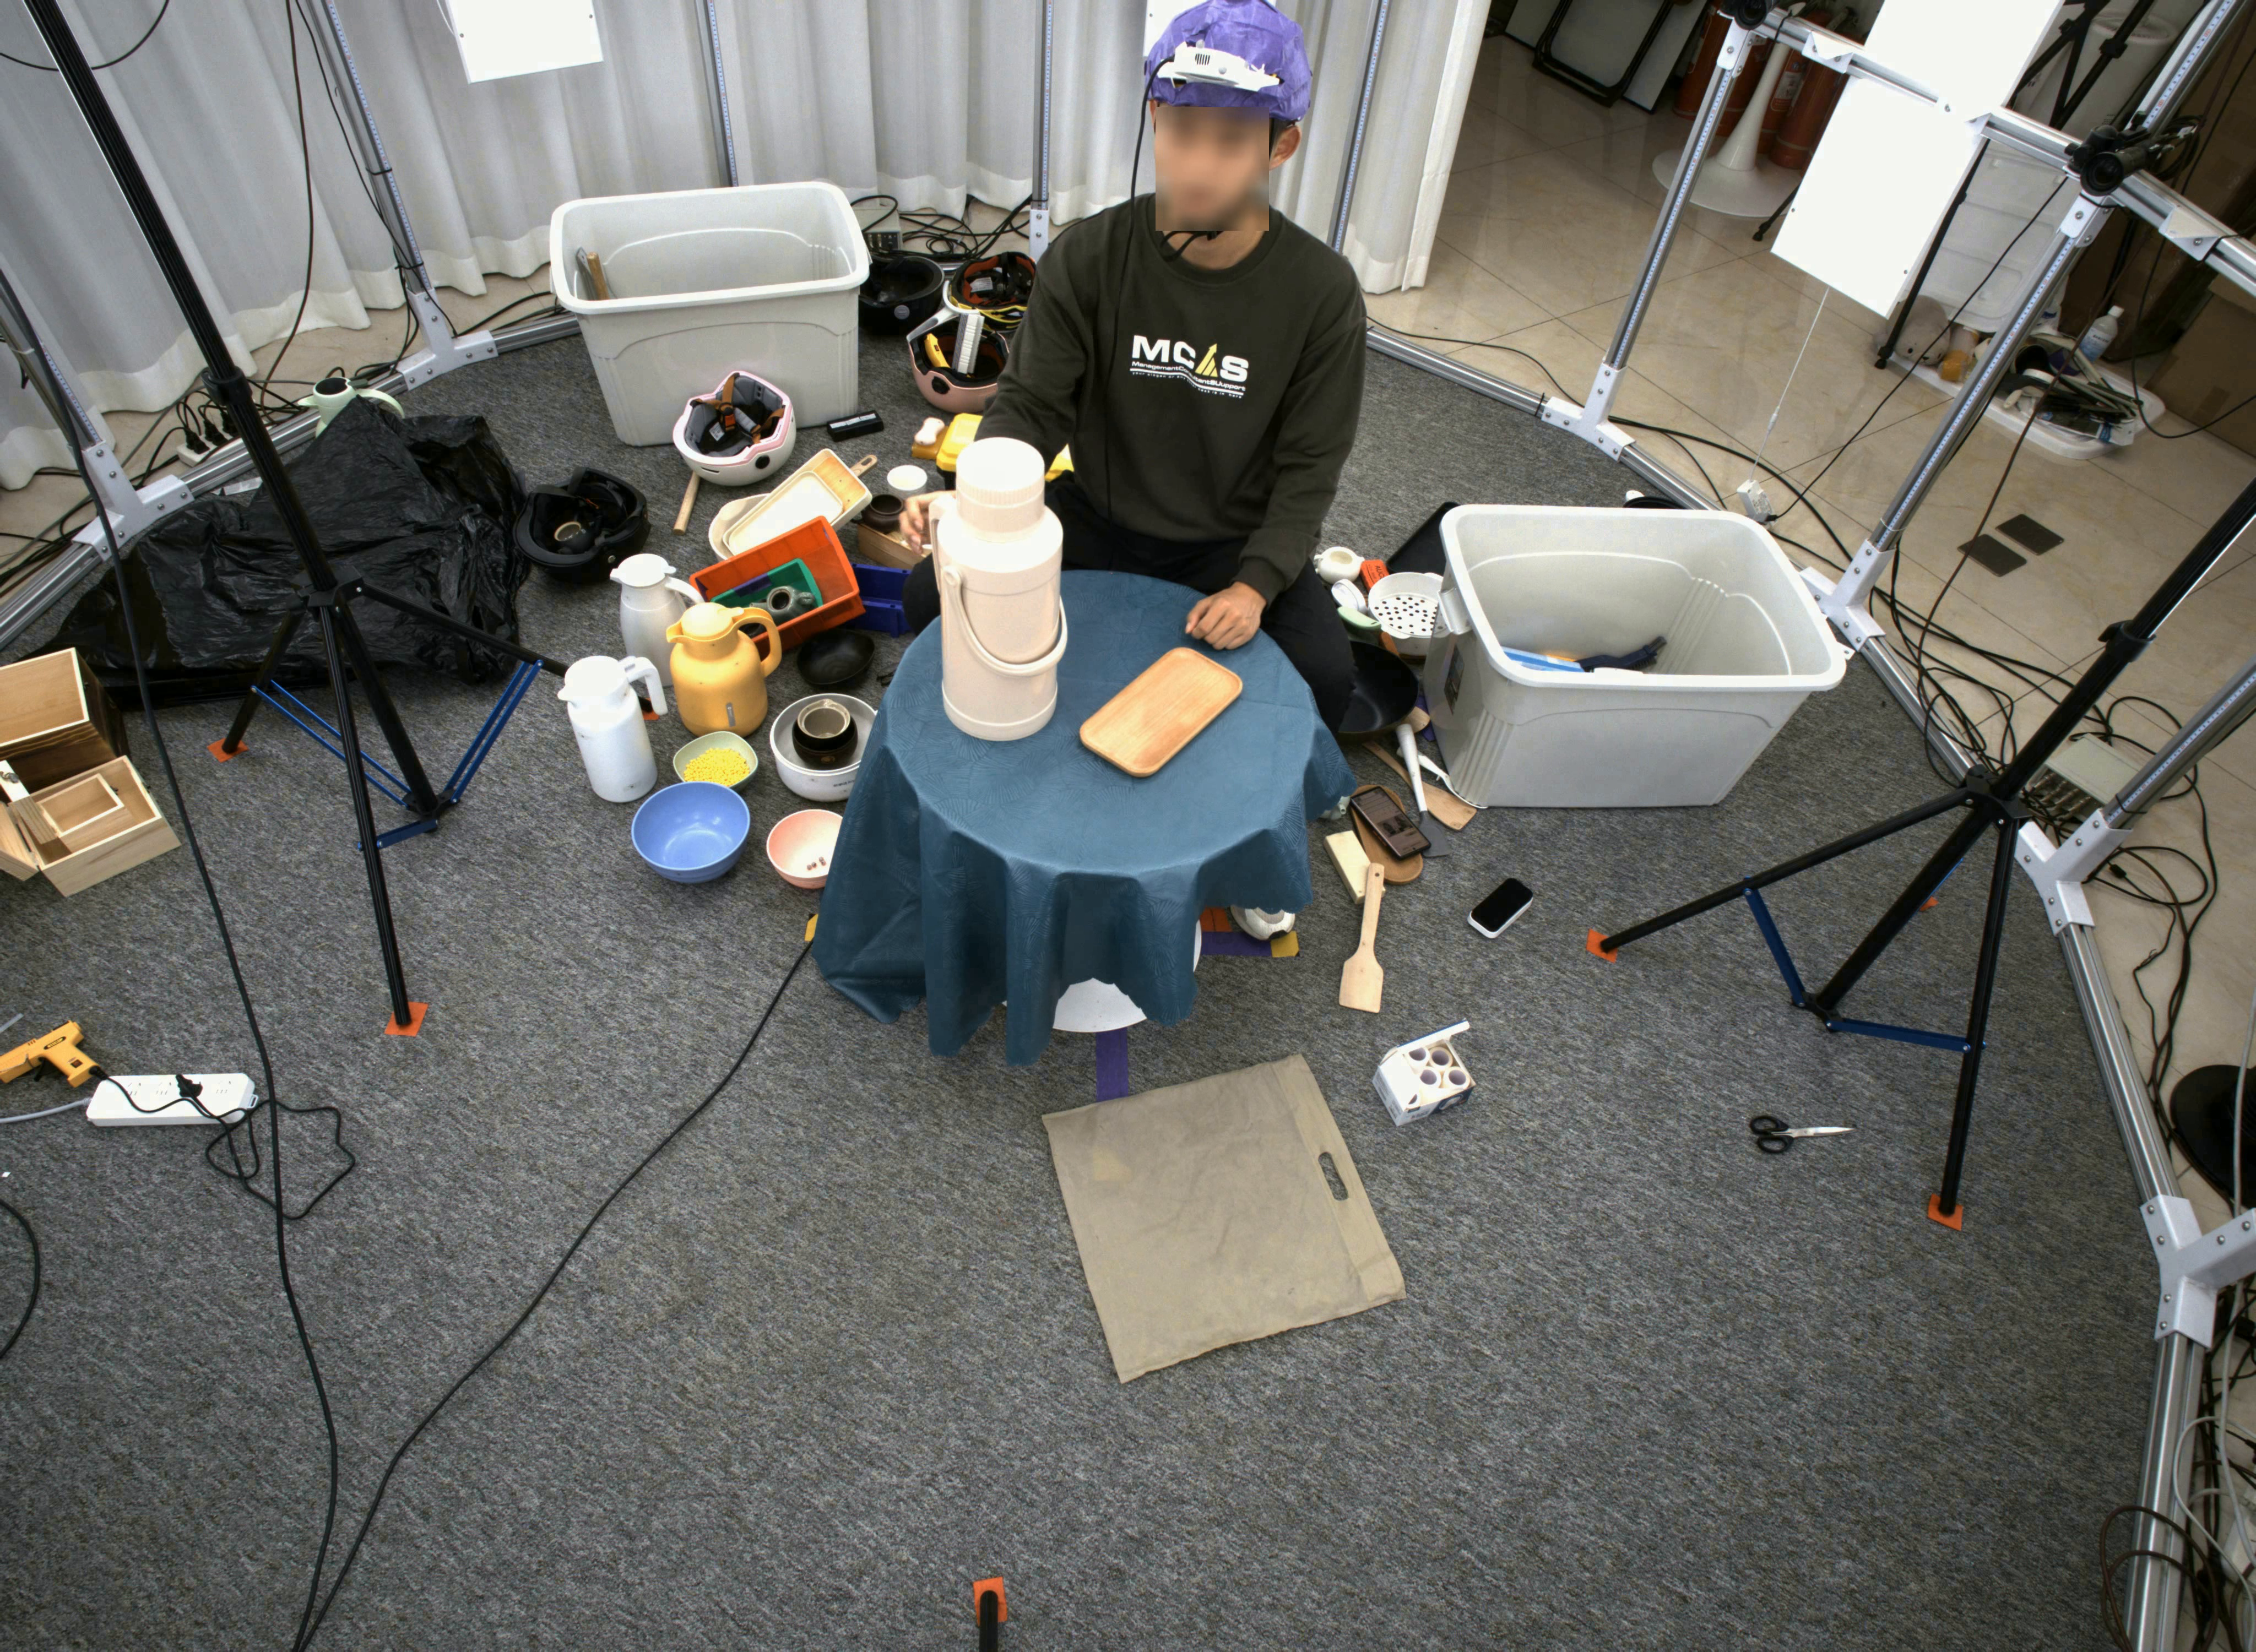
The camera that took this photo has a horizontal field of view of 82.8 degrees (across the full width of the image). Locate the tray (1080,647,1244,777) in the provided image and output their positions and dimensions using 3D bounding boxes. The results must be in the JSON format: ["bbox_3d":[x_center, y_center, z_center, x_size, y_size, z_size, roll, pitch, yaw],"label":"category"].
[{"bbox_3d":[0.050,-0.162,1.799,0.132,0.022,0.253,35,54,21],"label":"tray"}]

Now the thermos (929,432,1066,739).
[{"bbox_3d":[-0.174,-0.313,1.667,0.209,0.396,0.177,35,56,23],"label":"thermos"}]
